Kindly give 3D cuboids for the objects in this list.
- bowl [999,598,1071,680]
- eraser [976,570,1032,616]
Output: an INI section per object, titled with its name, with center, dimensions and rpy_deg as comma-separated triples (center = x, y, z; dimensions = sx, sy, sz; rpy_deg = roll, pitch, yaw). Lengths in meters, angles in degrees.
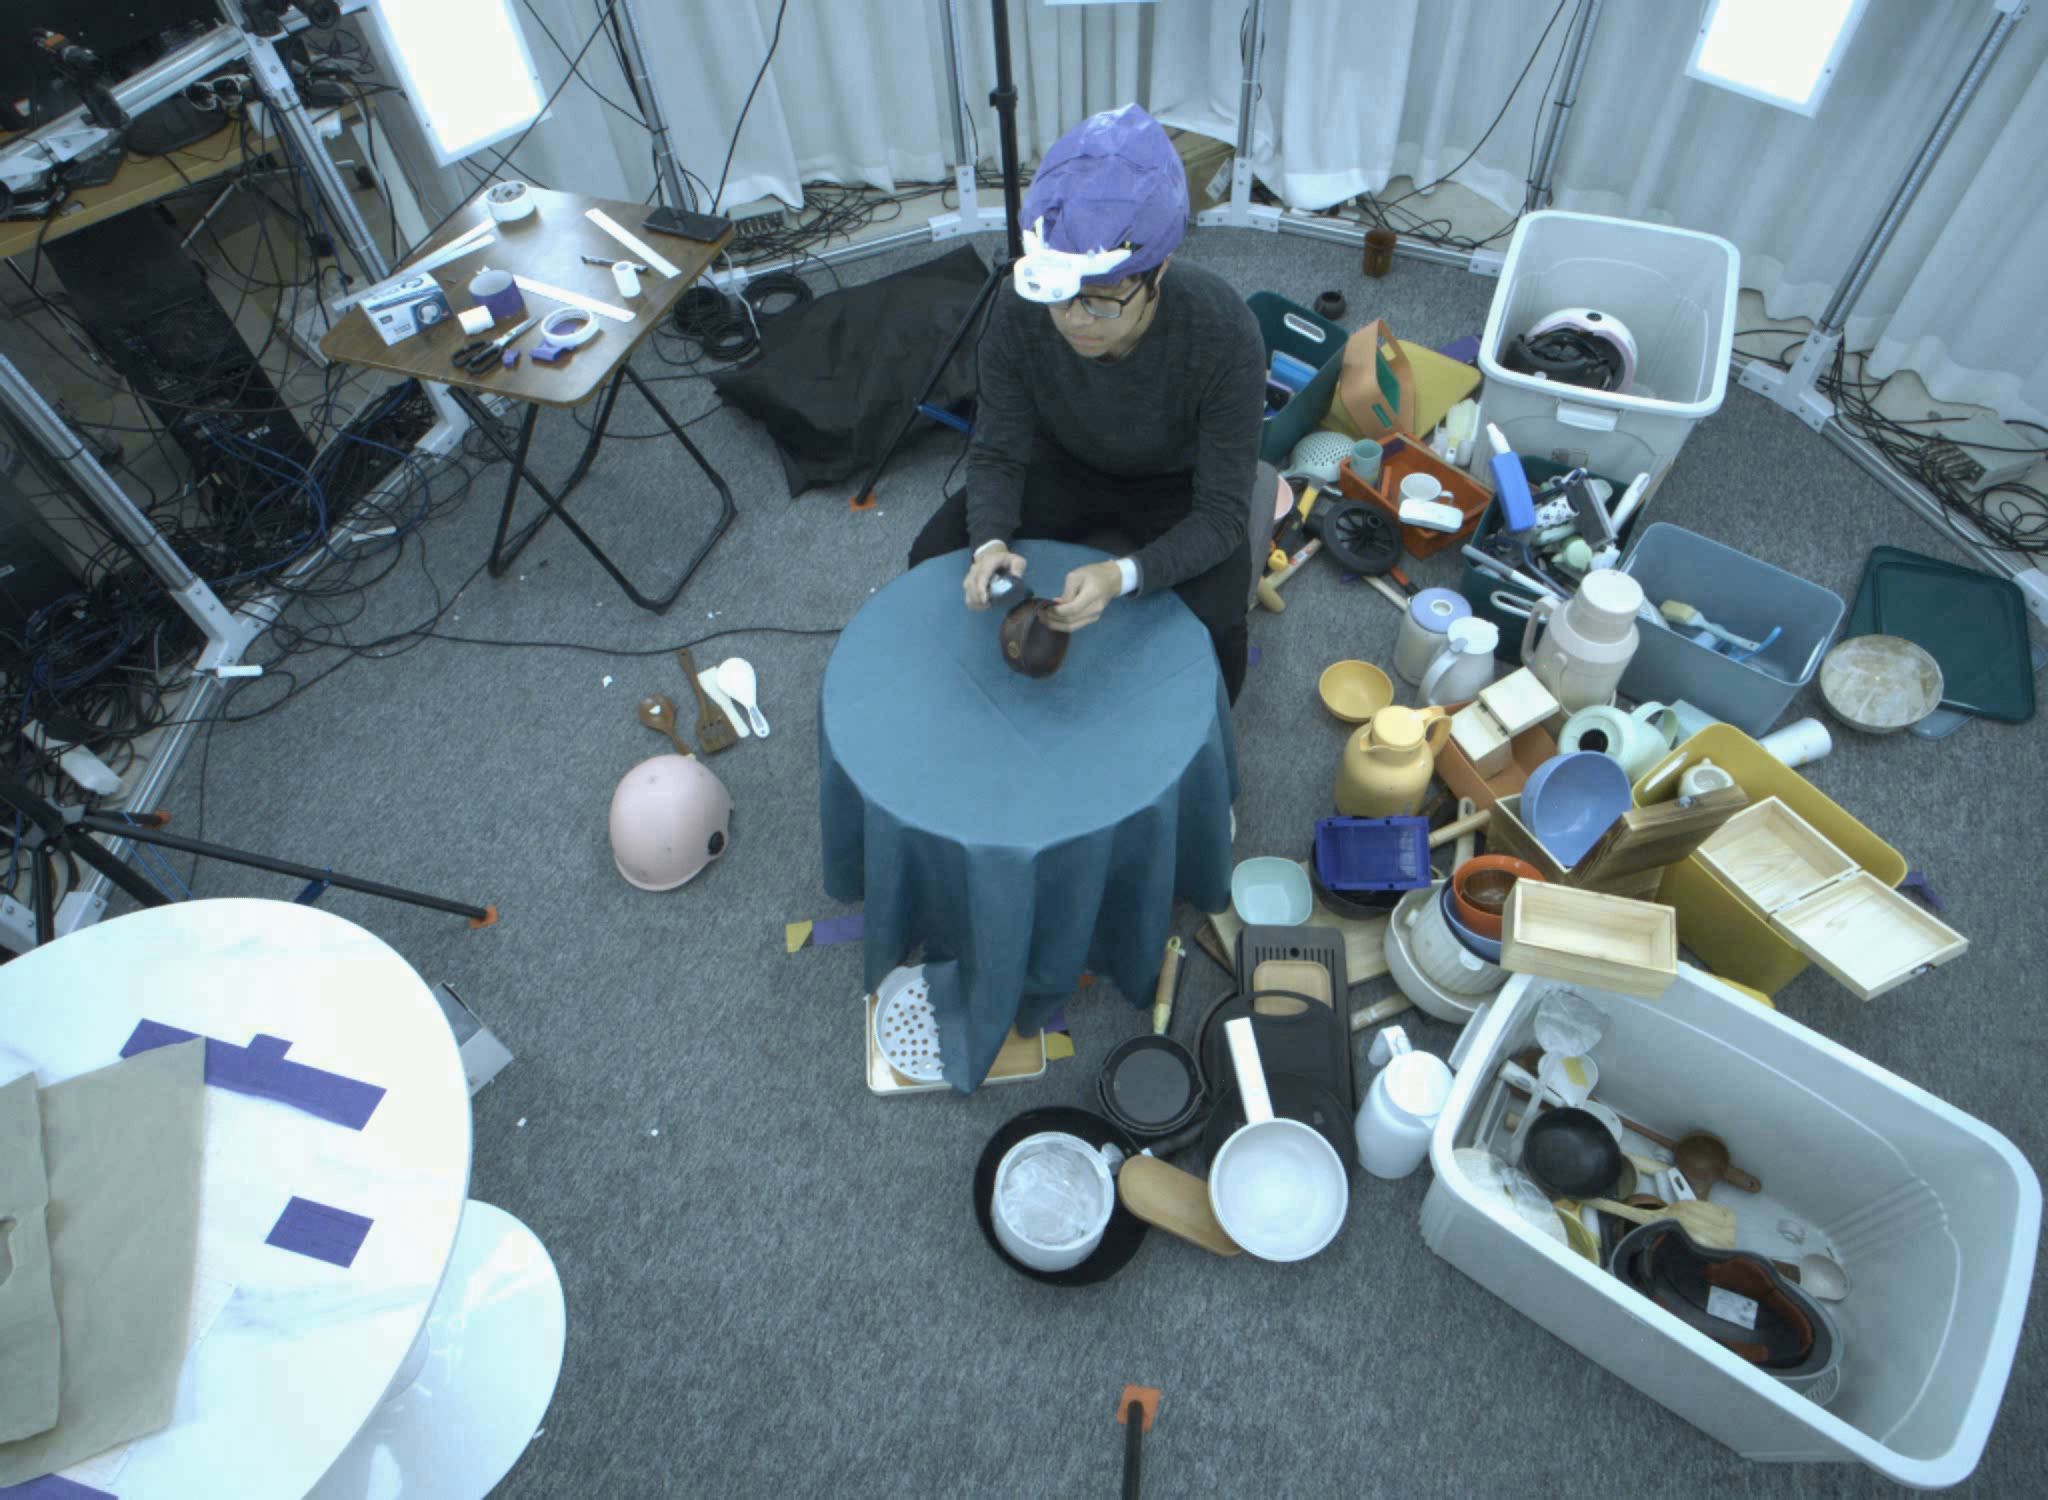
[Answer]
[bowl]
center = 0.007, -0.164, 1.781
dimensions = 0.068, 0.120, 0.118
rpy_deg = 15, 56, 31
[eraser]
center = -0.030, -0.229, 1.782
dimensions = 0.053, 0.031, 0.123
rpy_deg = -36, 23, -3
